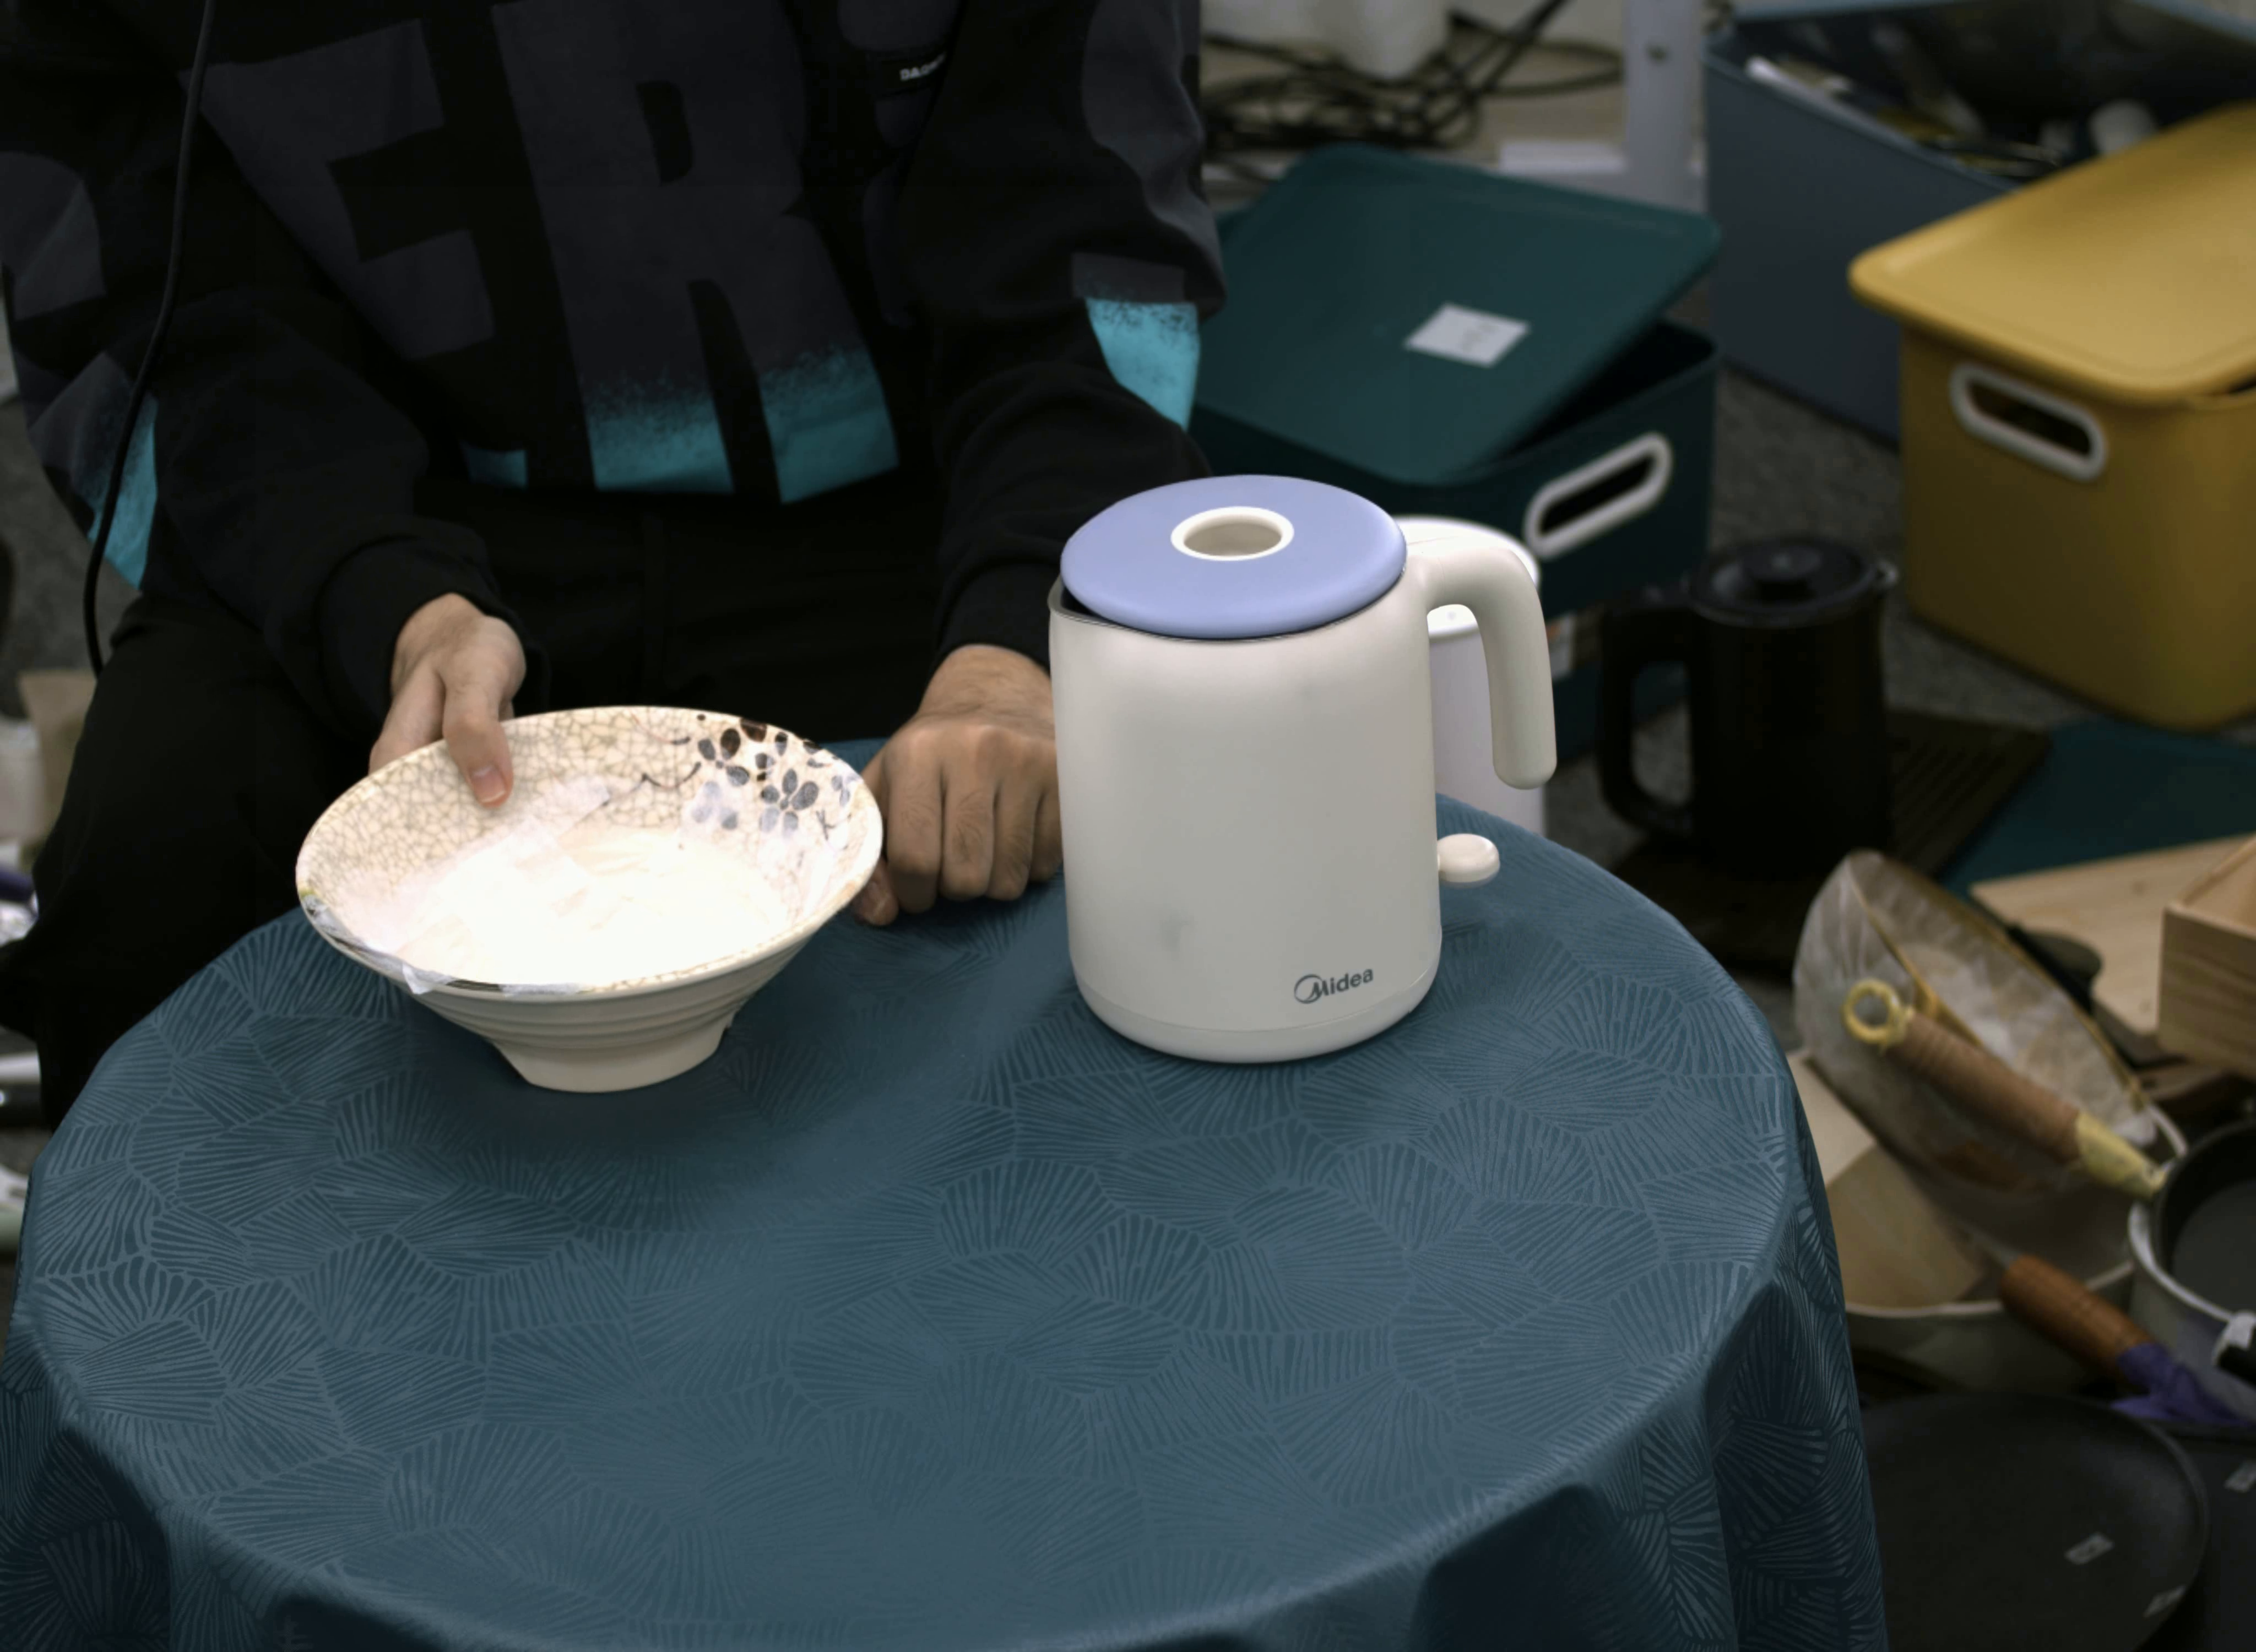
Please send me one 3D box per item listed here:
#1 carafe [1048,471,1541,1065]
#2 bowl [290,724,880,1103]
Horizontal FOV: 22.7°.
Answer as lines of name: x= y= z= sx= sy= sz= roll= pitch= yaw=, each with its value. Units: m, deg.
carafe: x=0.061 y=-0.026 z=1.956 sx=0.192 sy=0.180 sz=0.133 roll=-13 pitch=29 yaw=-24
bowl: x=-0.186 y=0.042 z=1.951 sx=0.203 sy=0.077 sz=0.207 roll=-1 pitch=26 yaw=1
